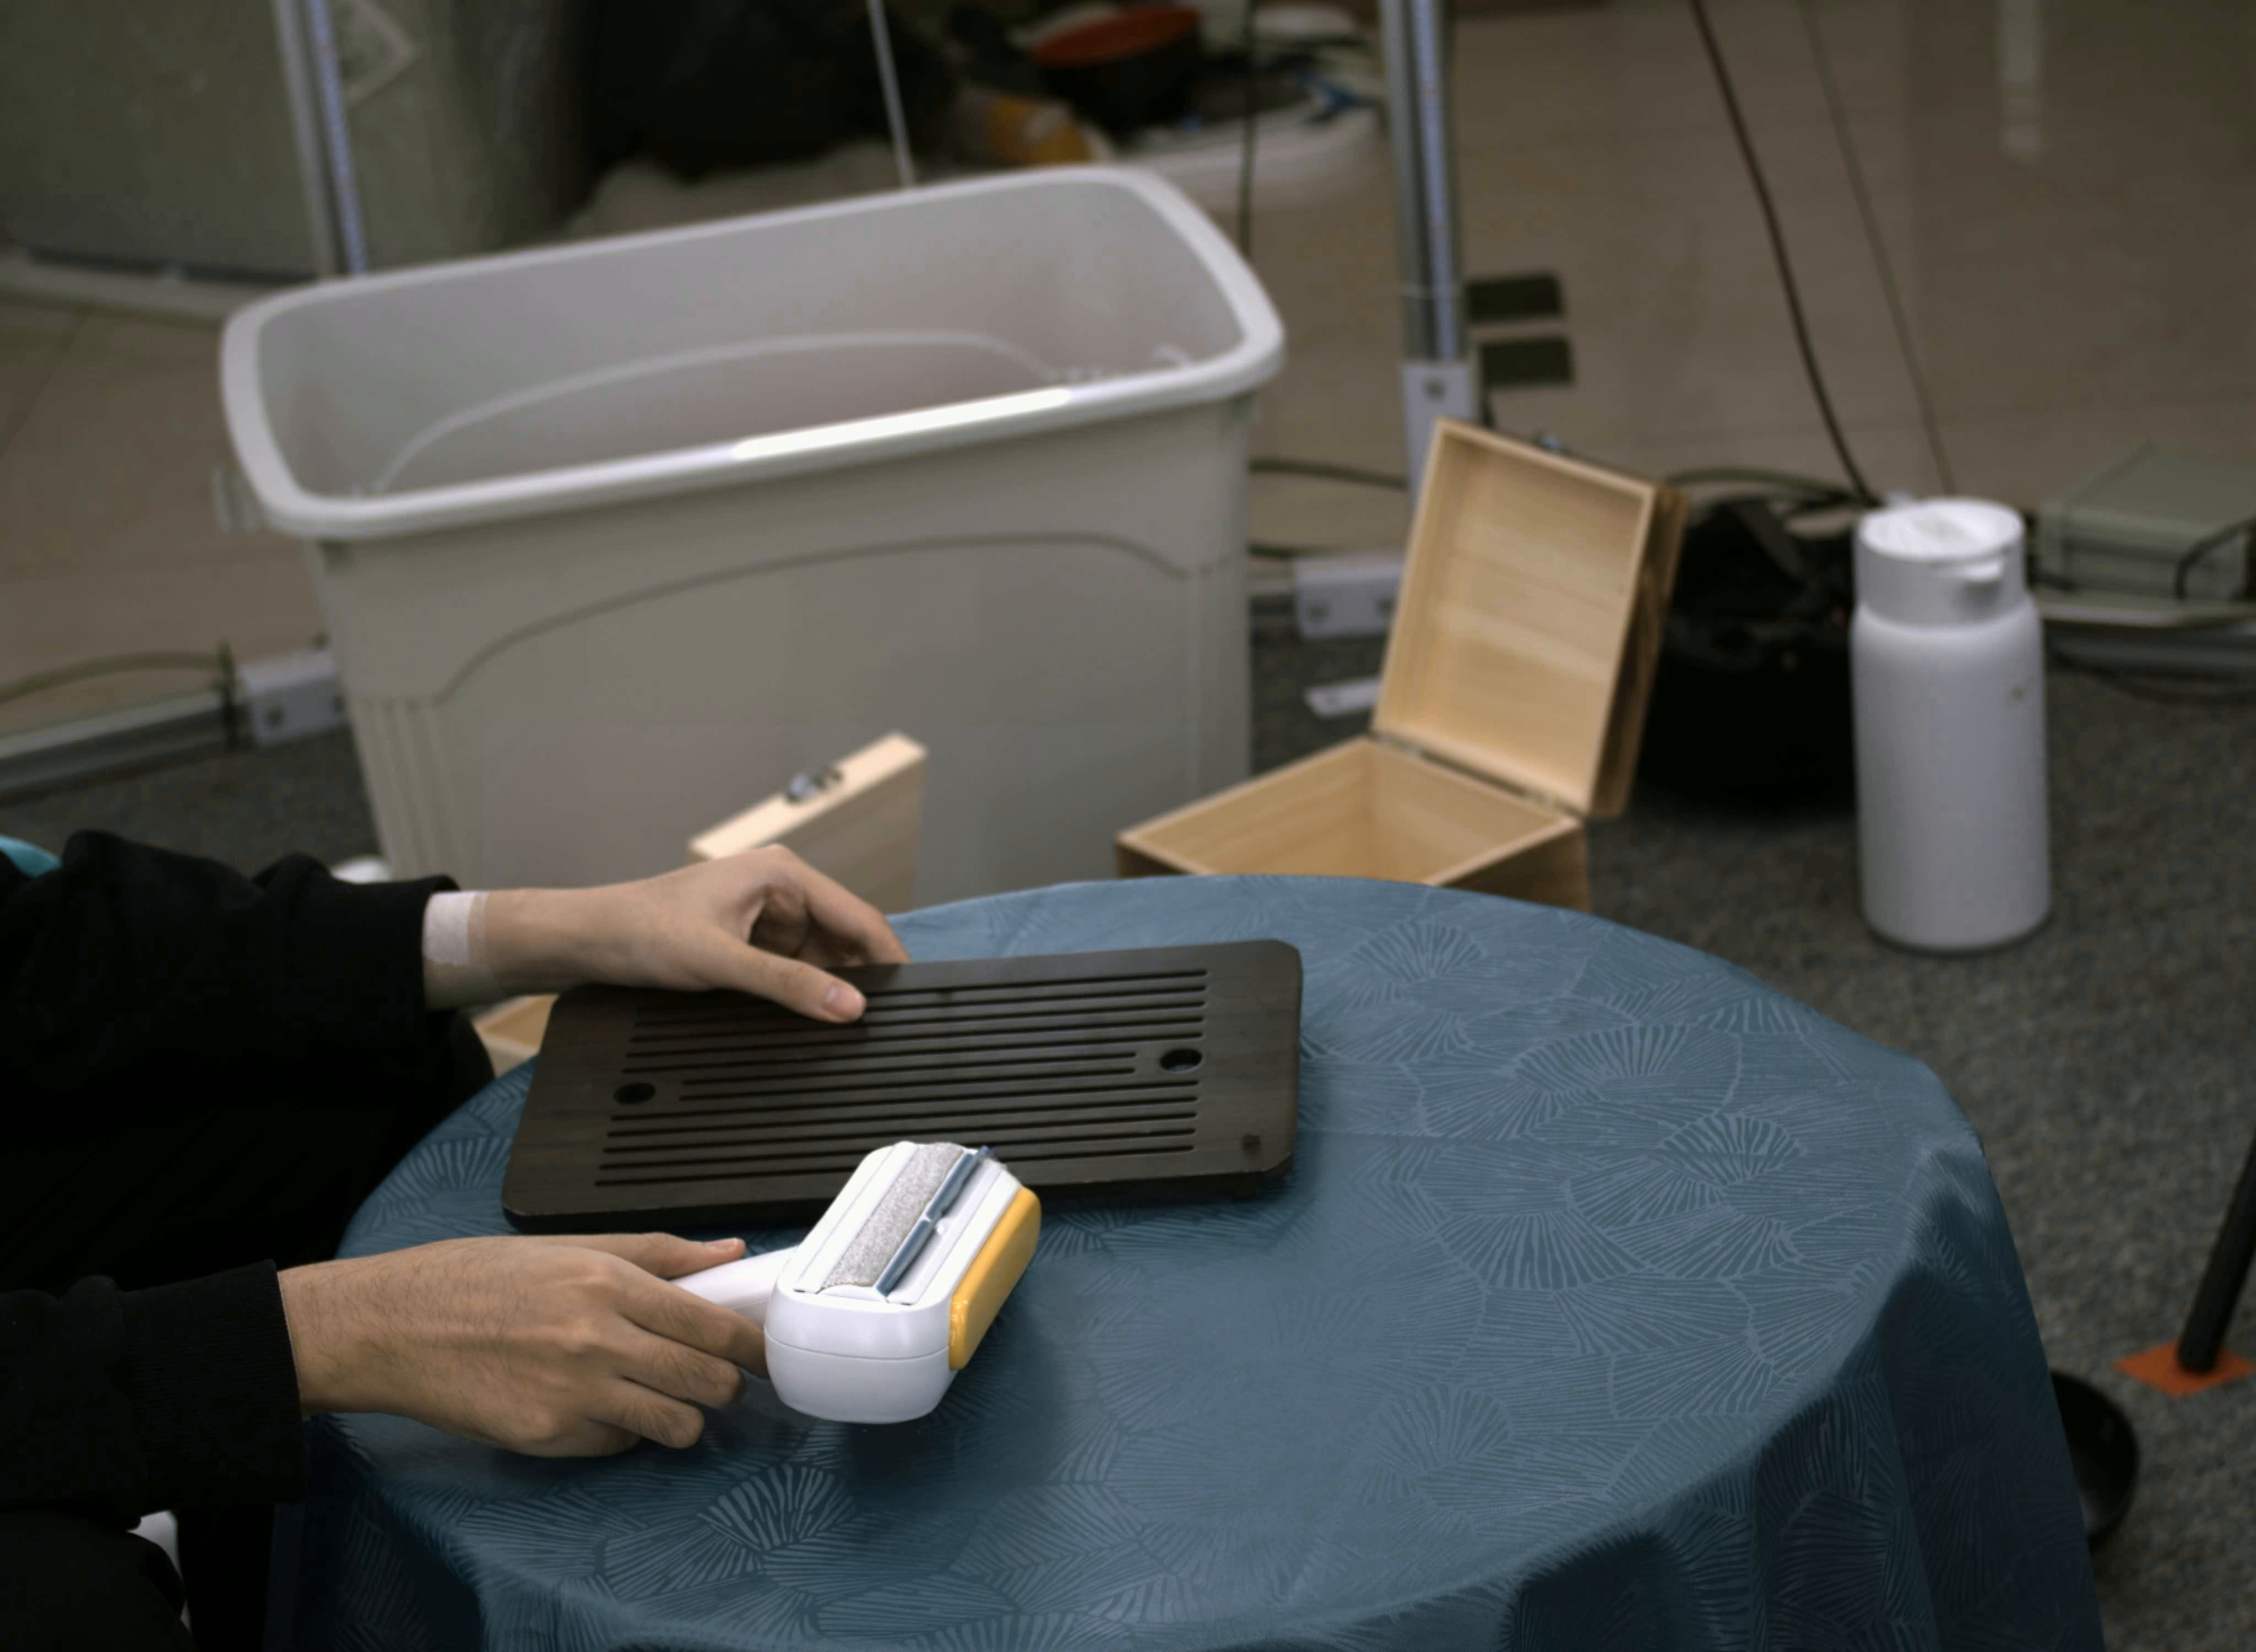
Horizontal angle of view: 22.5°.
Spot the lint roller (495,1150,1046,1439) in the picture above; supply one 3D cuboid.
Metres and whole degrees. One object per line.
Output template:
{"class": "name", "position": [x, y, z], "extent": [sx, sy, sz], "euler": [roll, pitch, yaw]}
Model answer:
{"class": "lint roller", "position": [-0.138, 0.171, 2.028], "extent": [0.192, 0.075, 0.190], "euler": [-2, 18, 15]}

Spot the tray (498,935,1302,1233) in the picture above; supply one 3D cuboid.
{"class": "tray", "position": [-0.085, 0.101, 2.209], "extent": [0.305, 0.019, 0.167], "euler": [-4, 30, 6]}
